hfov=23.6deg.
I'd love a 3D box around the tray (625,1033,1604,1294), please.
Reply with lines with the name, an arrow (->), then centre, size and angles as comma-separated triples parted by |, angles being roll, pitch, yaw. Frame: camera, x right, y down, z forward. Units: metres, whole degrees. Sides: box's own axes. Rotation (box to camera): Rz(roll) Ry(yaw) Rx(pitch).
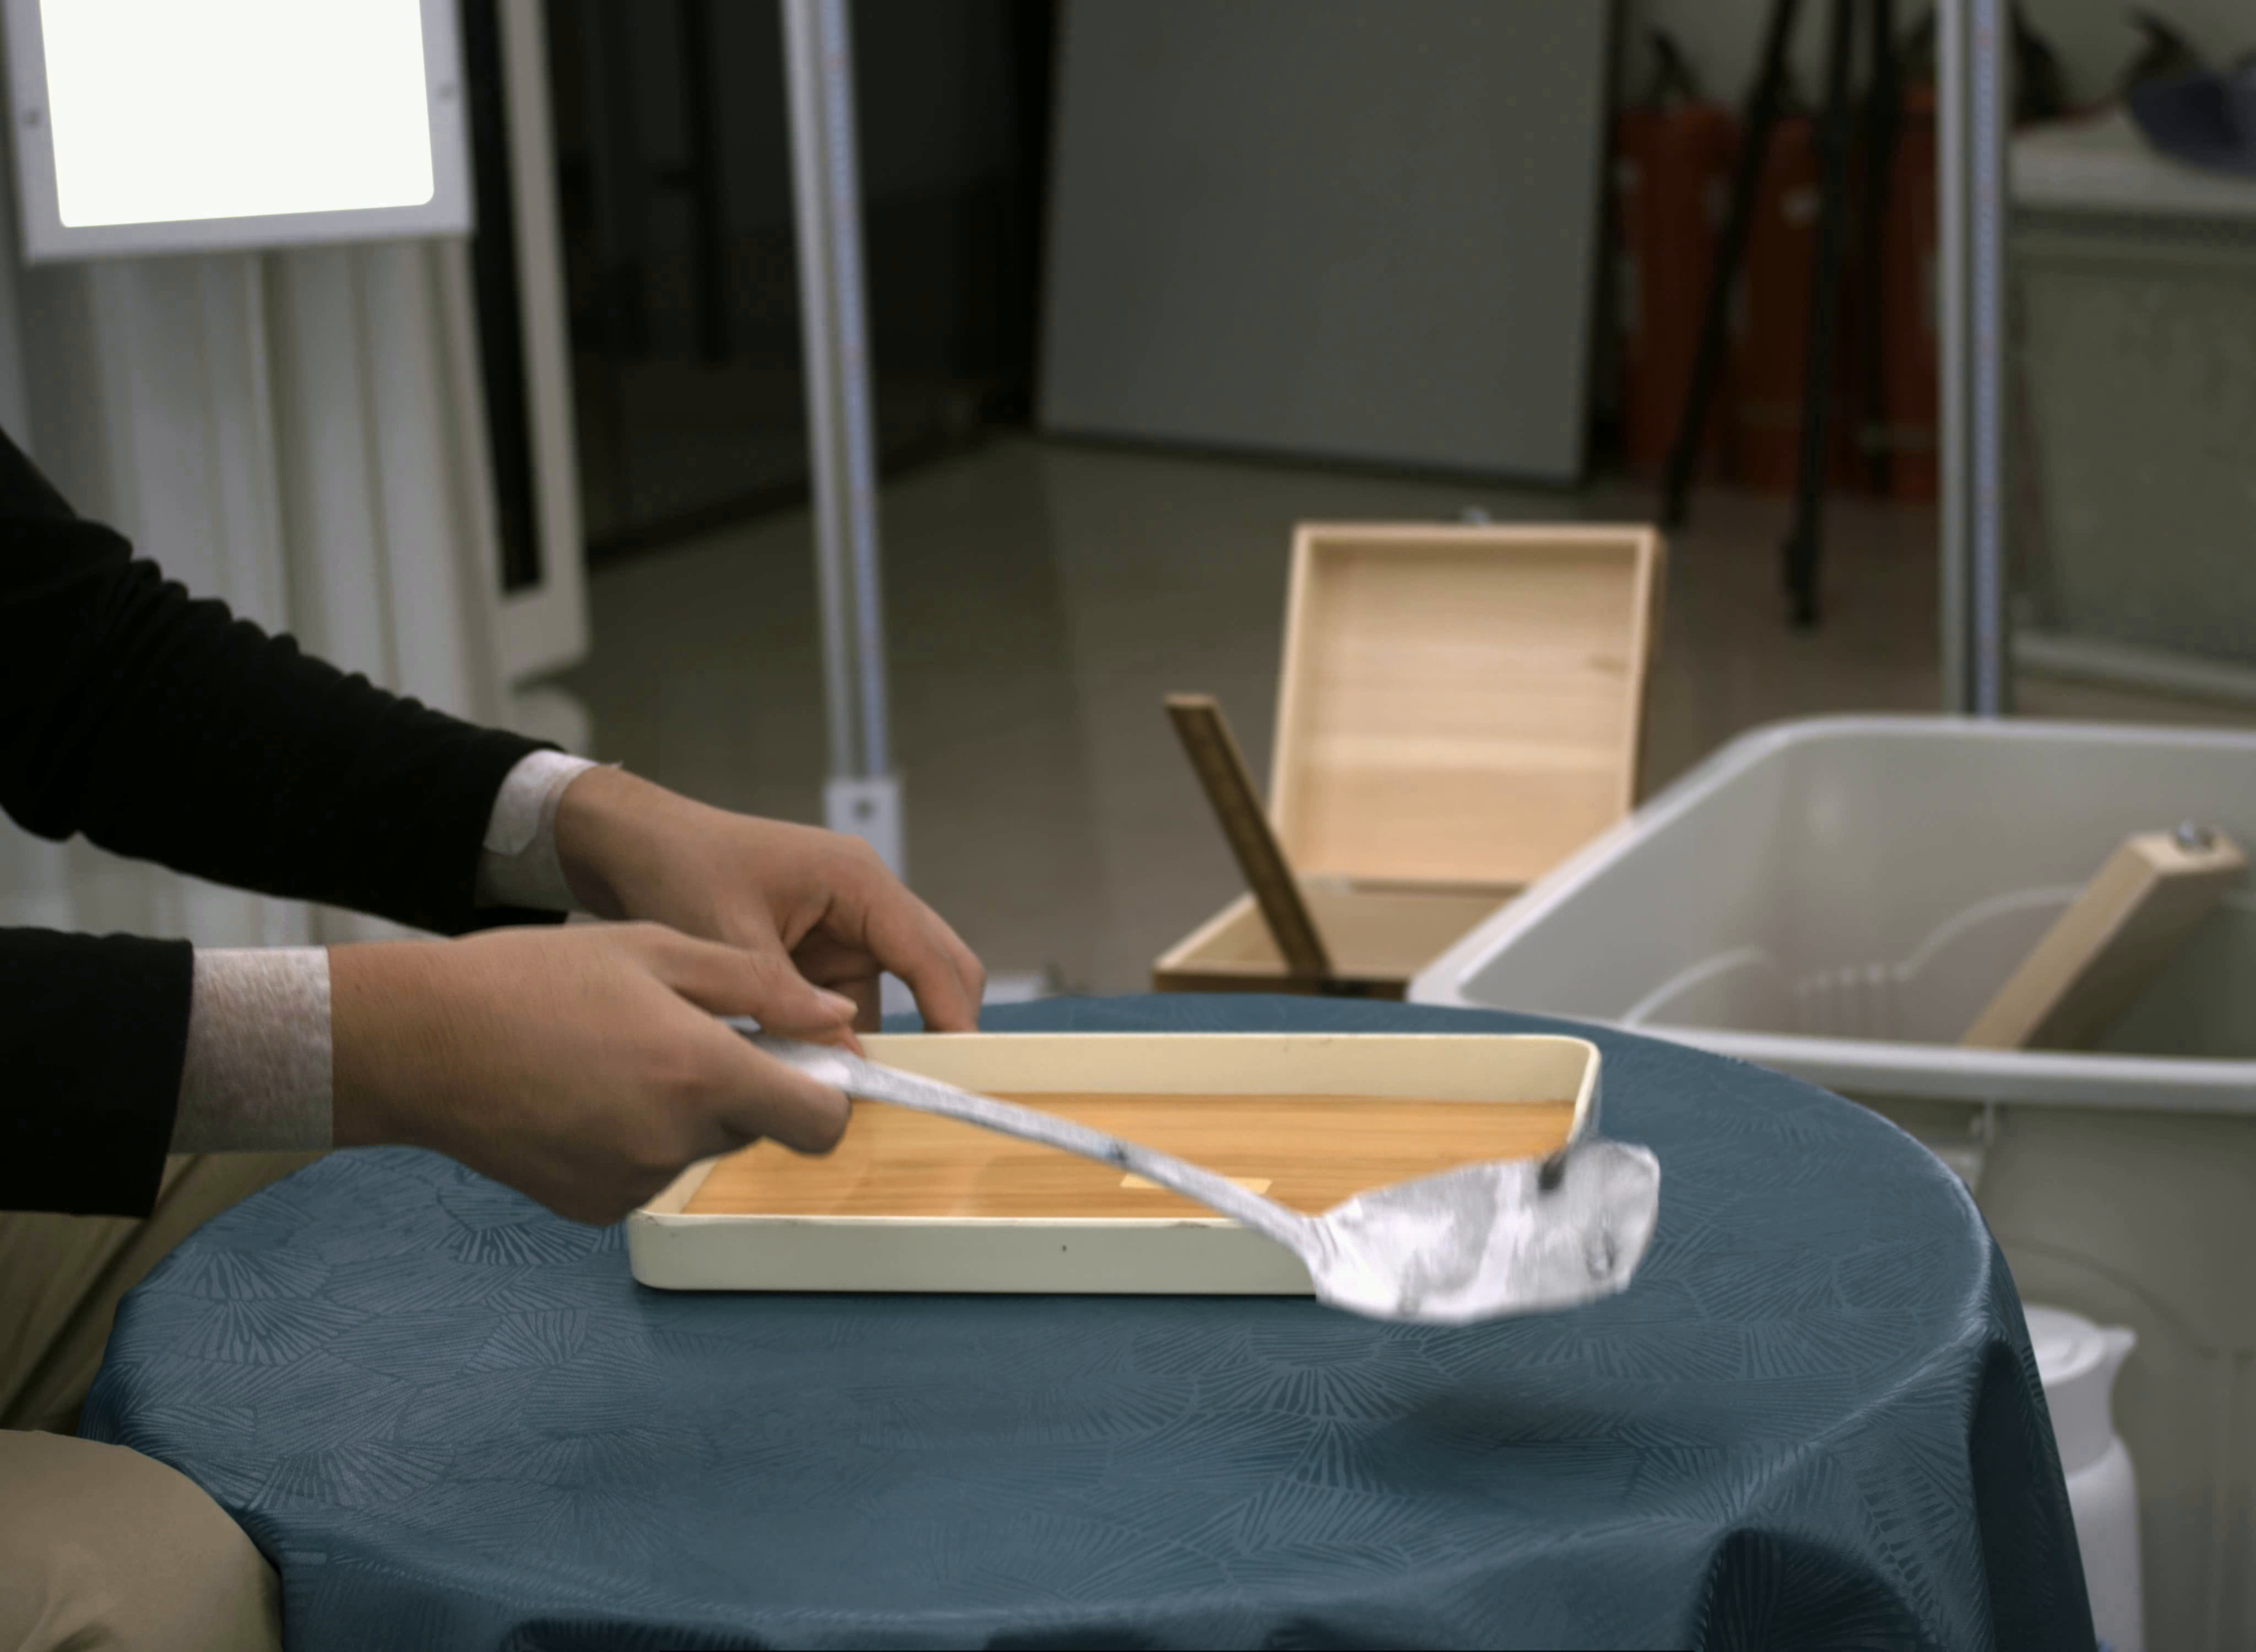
tray -> 0.001, 0.109, 1.754 | 0.298, 0.028, 0.190 | -1, 15, 12

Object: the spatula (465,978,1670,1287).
spatula -> -0.024, 0.078, 1.562 | 0.363, 0.045, 0.098 | 14, 26, 10
